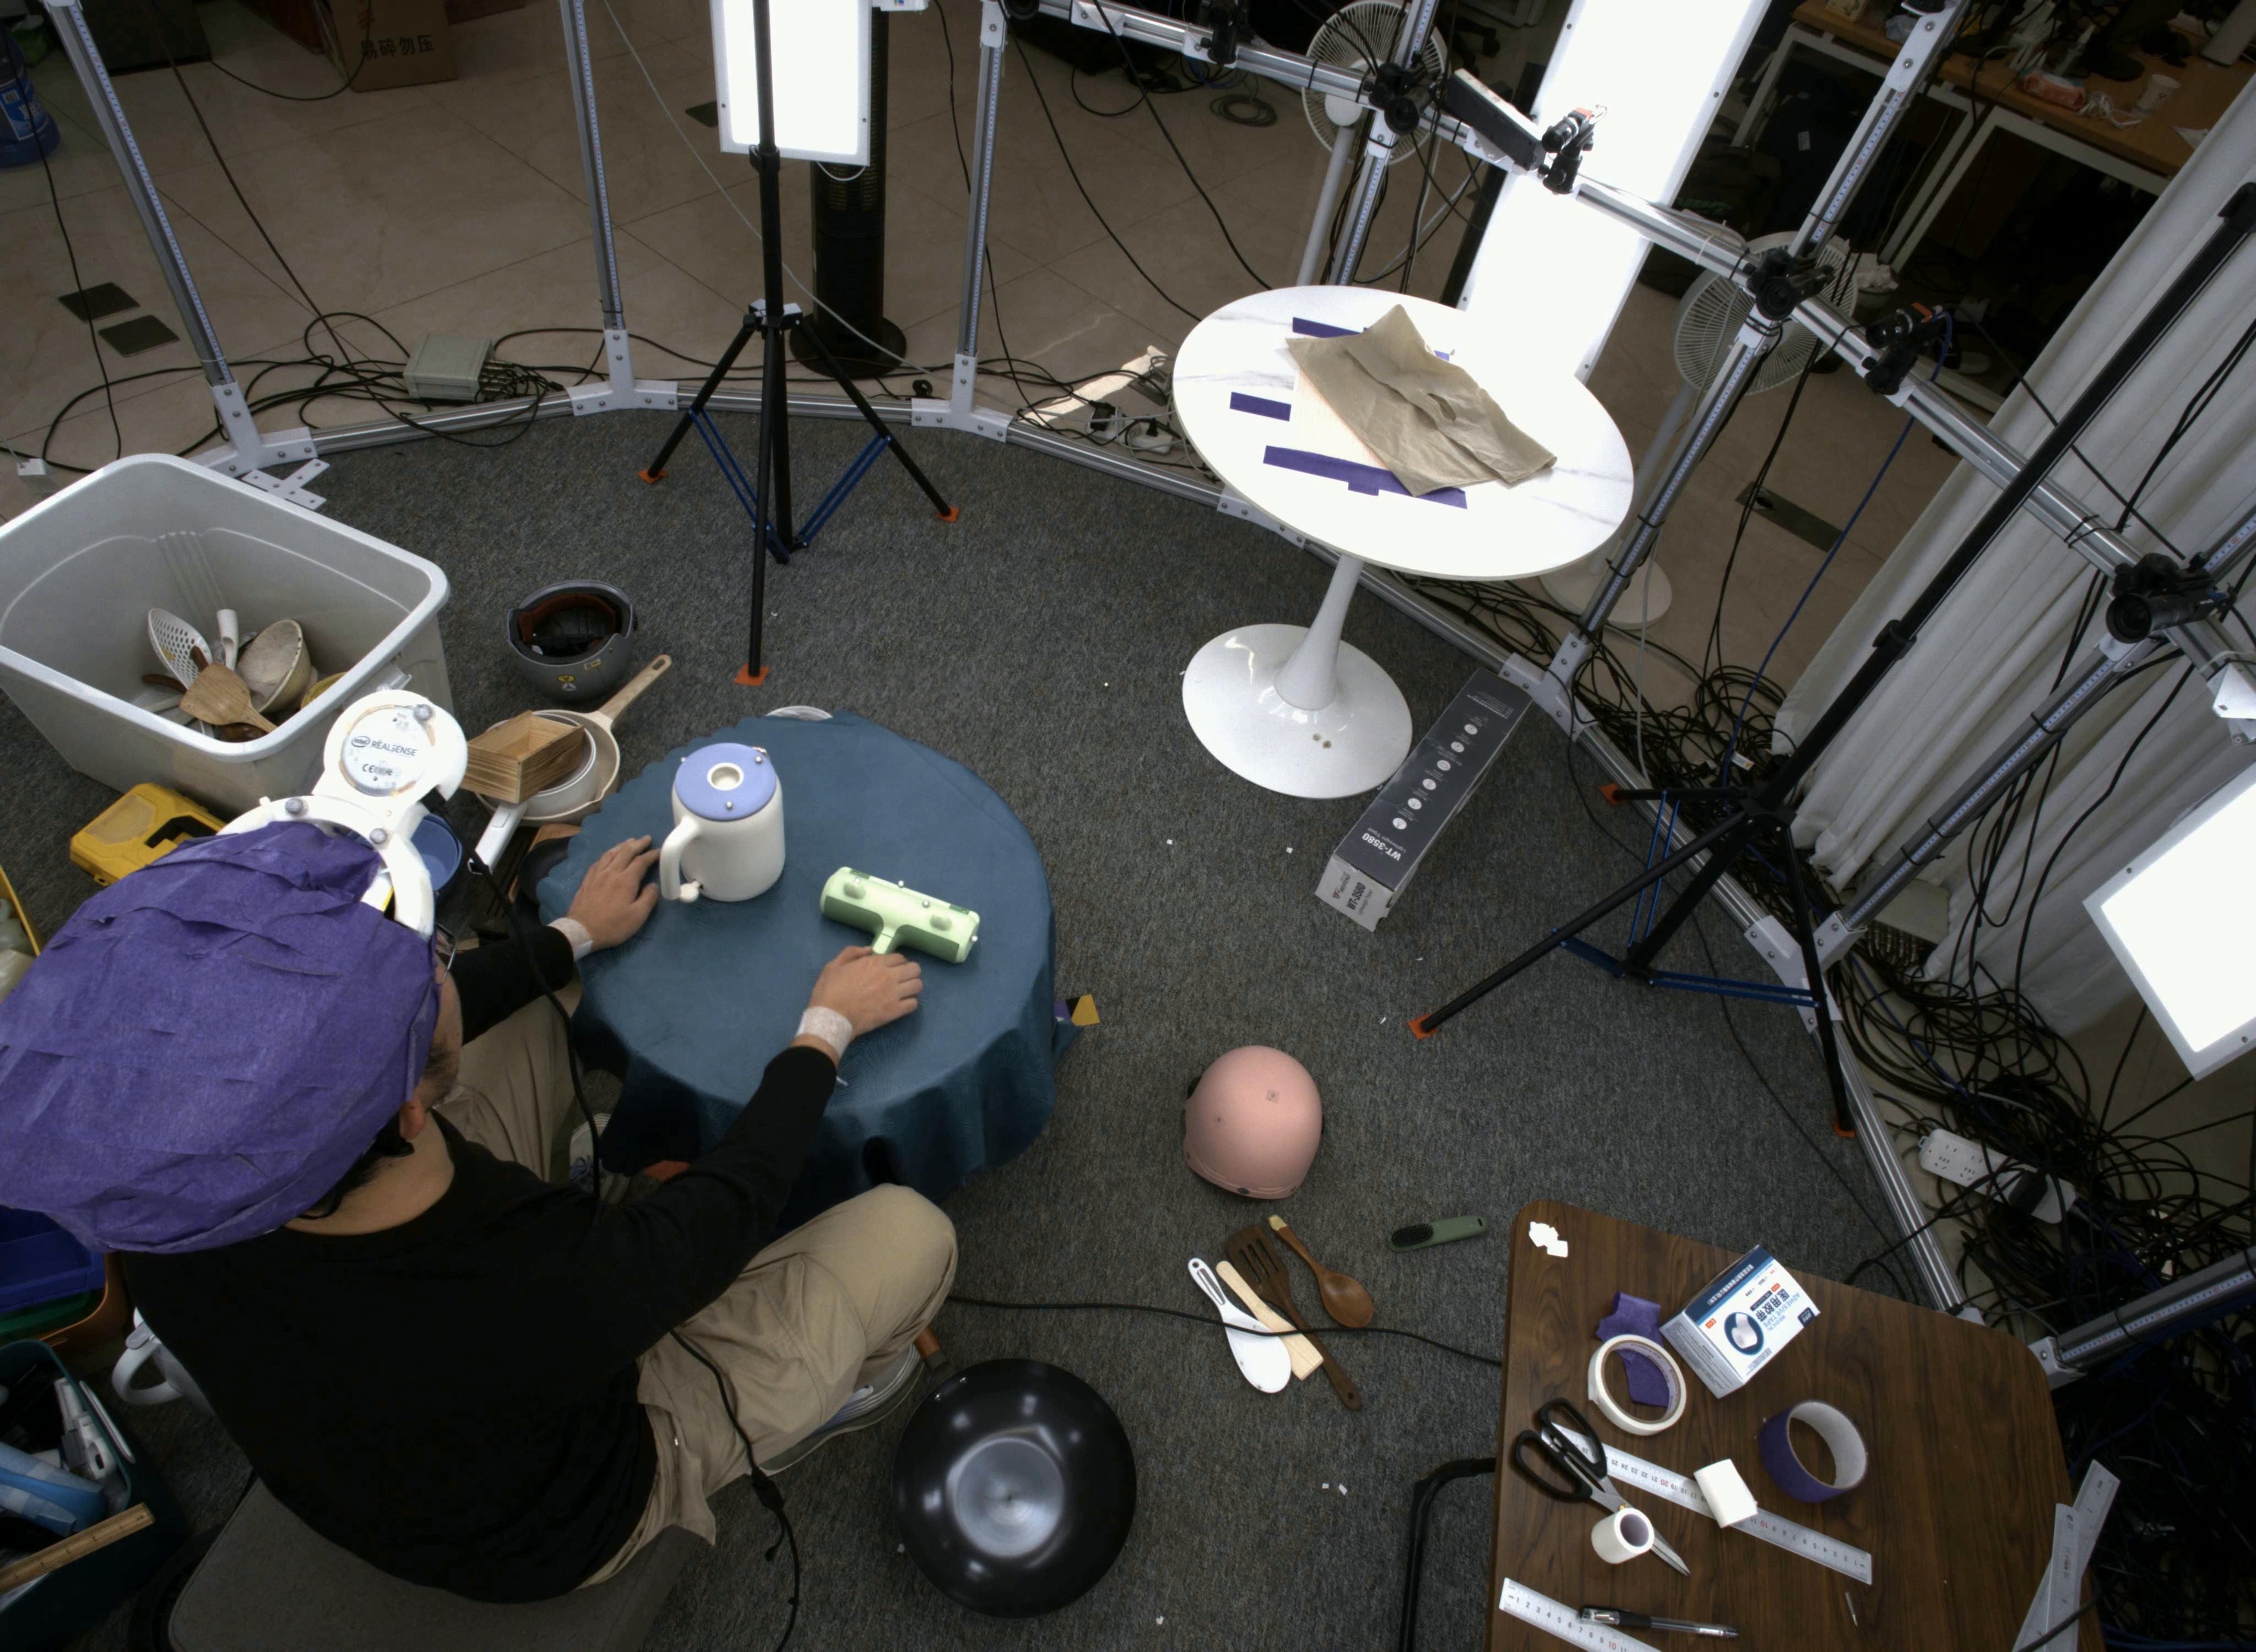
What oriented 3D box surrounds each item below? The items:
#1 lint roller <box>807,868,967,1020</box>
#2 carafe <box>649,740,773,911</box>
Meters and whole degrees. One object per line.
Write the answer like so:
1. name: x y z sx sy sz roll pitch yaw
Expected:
1. lint roller: -0.316 0.144 1.590 0.196 0.084 0.181 19 49 1
2. carafe: -0.519 0.012 1.573 0.130 0.186 0.190 26 54 9
